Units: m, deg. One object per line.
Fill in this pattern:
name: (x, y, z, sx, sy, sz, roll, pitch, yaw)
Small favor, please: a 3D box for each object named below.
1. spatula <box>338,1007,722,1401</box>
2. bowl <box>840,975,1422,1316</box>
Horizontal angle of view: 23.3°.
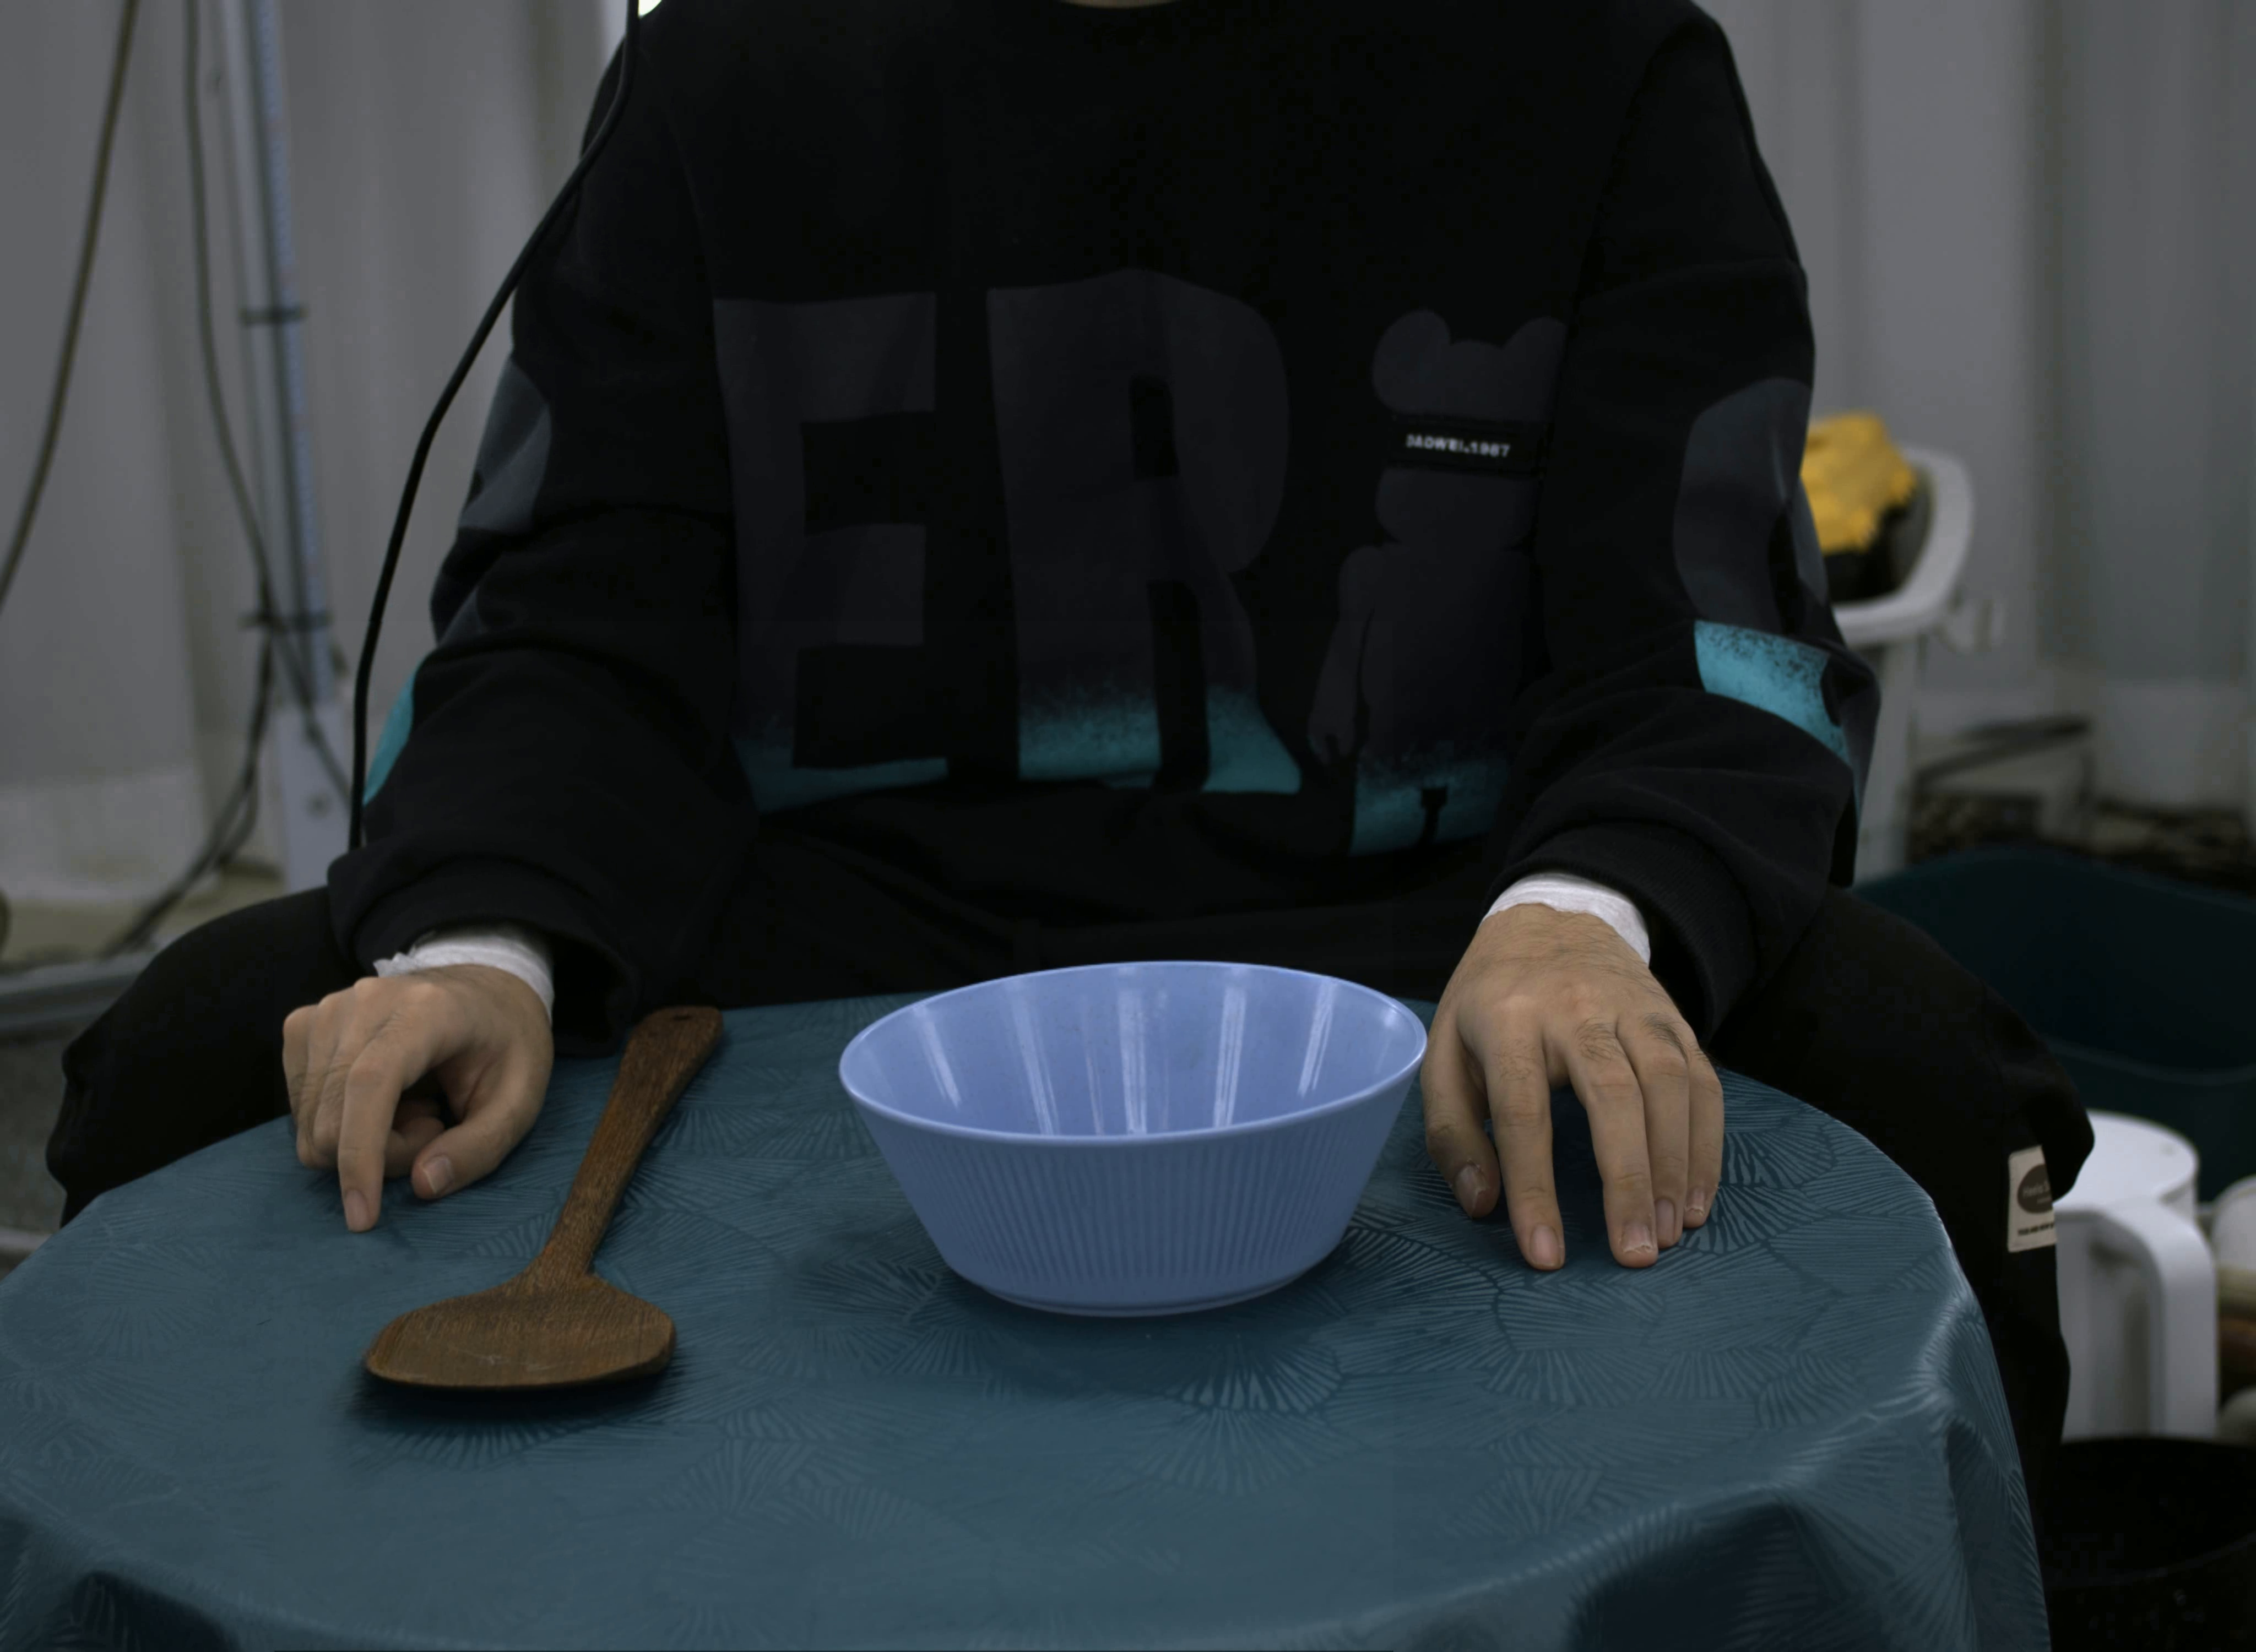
spatula: (-0.167, 0.113, 1.726, 0.096, 0.016, 0.388, -1, 15, 4)
bowl: (0.002, 0.098, 1.644, 0.175, 0.070, 0.177, -2, 13, 0)
